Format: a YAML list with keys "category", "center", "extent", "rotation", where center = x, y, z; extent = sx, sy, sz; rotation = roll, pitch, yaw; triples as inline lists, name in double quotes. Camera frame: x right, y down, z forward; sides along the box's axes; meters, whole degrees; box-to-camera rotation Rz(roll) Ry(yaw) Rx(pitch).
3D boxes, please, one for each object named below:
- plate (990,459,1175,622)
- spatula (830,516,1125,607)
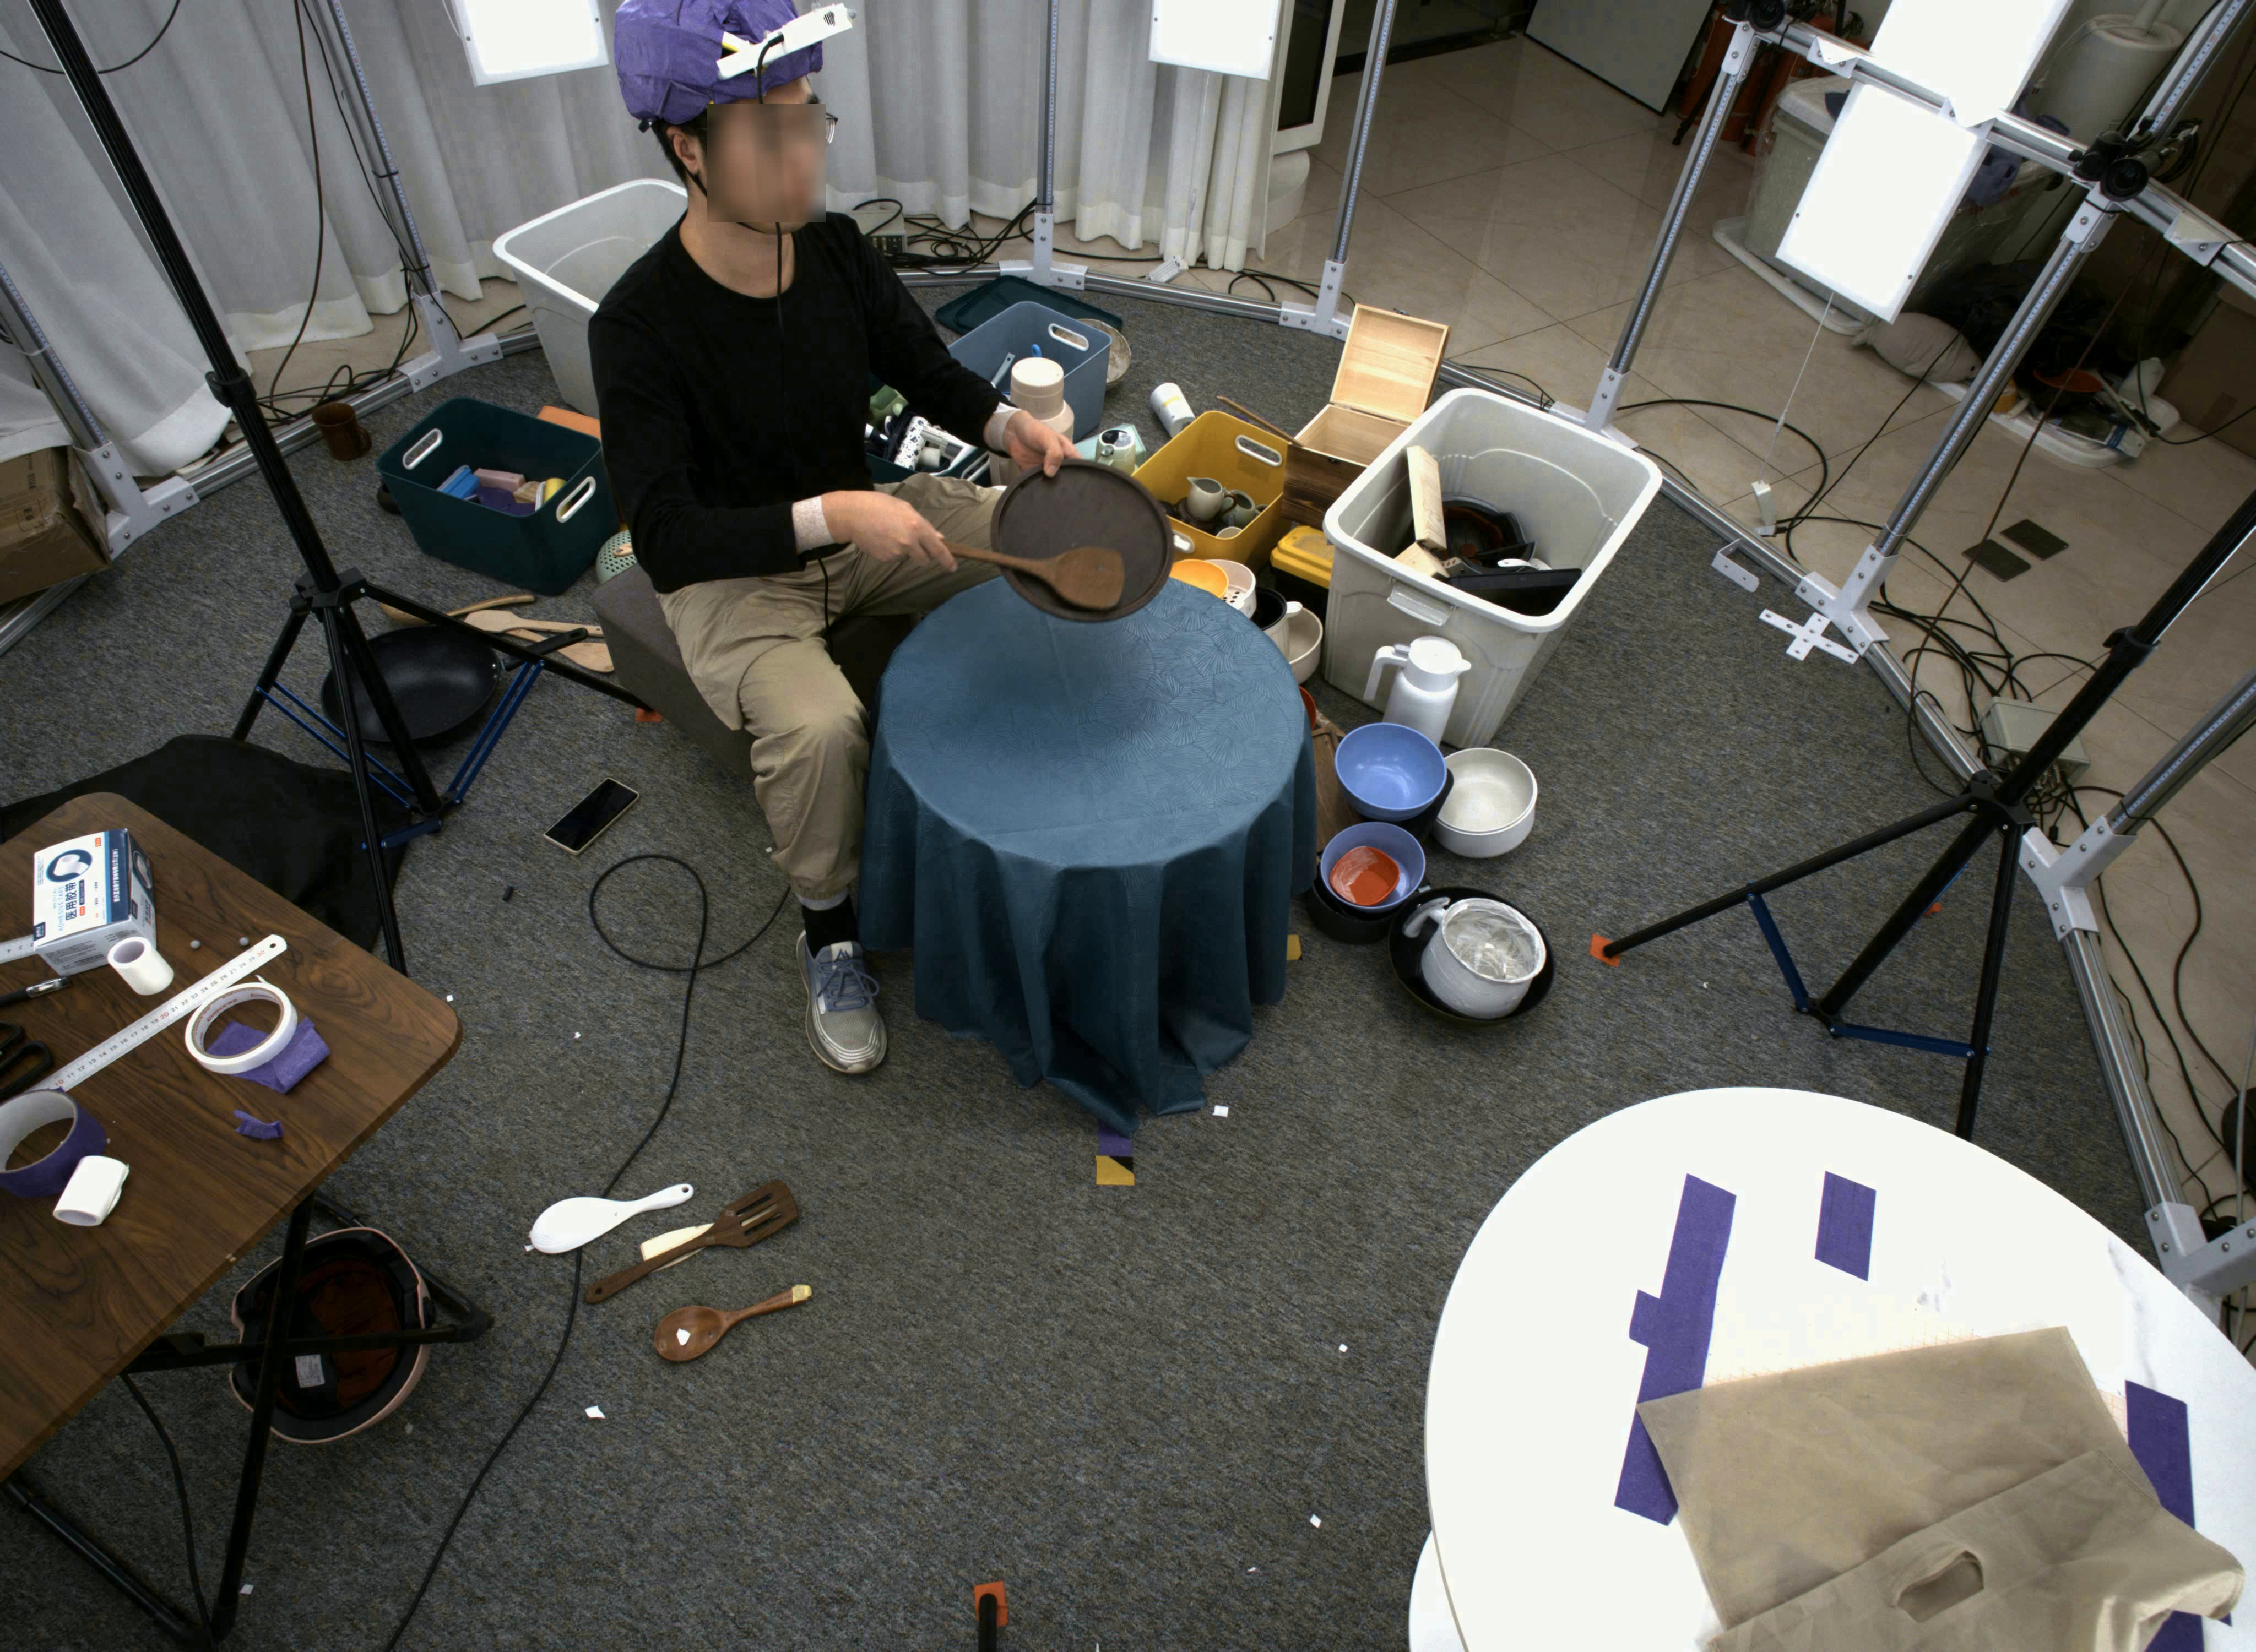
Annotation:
- category: "plate"
  center: [-0.061, -0.386, 1.741]
  extent: [0.254, 0.028, 0.259]
  rotation: [4, 68, -10]
- category: "spatula"
  center: [-0.193, -0.357, 1.687]
  extent: [0.385, 0.015, 0.098]
  rotation: [9, 64, -7]
